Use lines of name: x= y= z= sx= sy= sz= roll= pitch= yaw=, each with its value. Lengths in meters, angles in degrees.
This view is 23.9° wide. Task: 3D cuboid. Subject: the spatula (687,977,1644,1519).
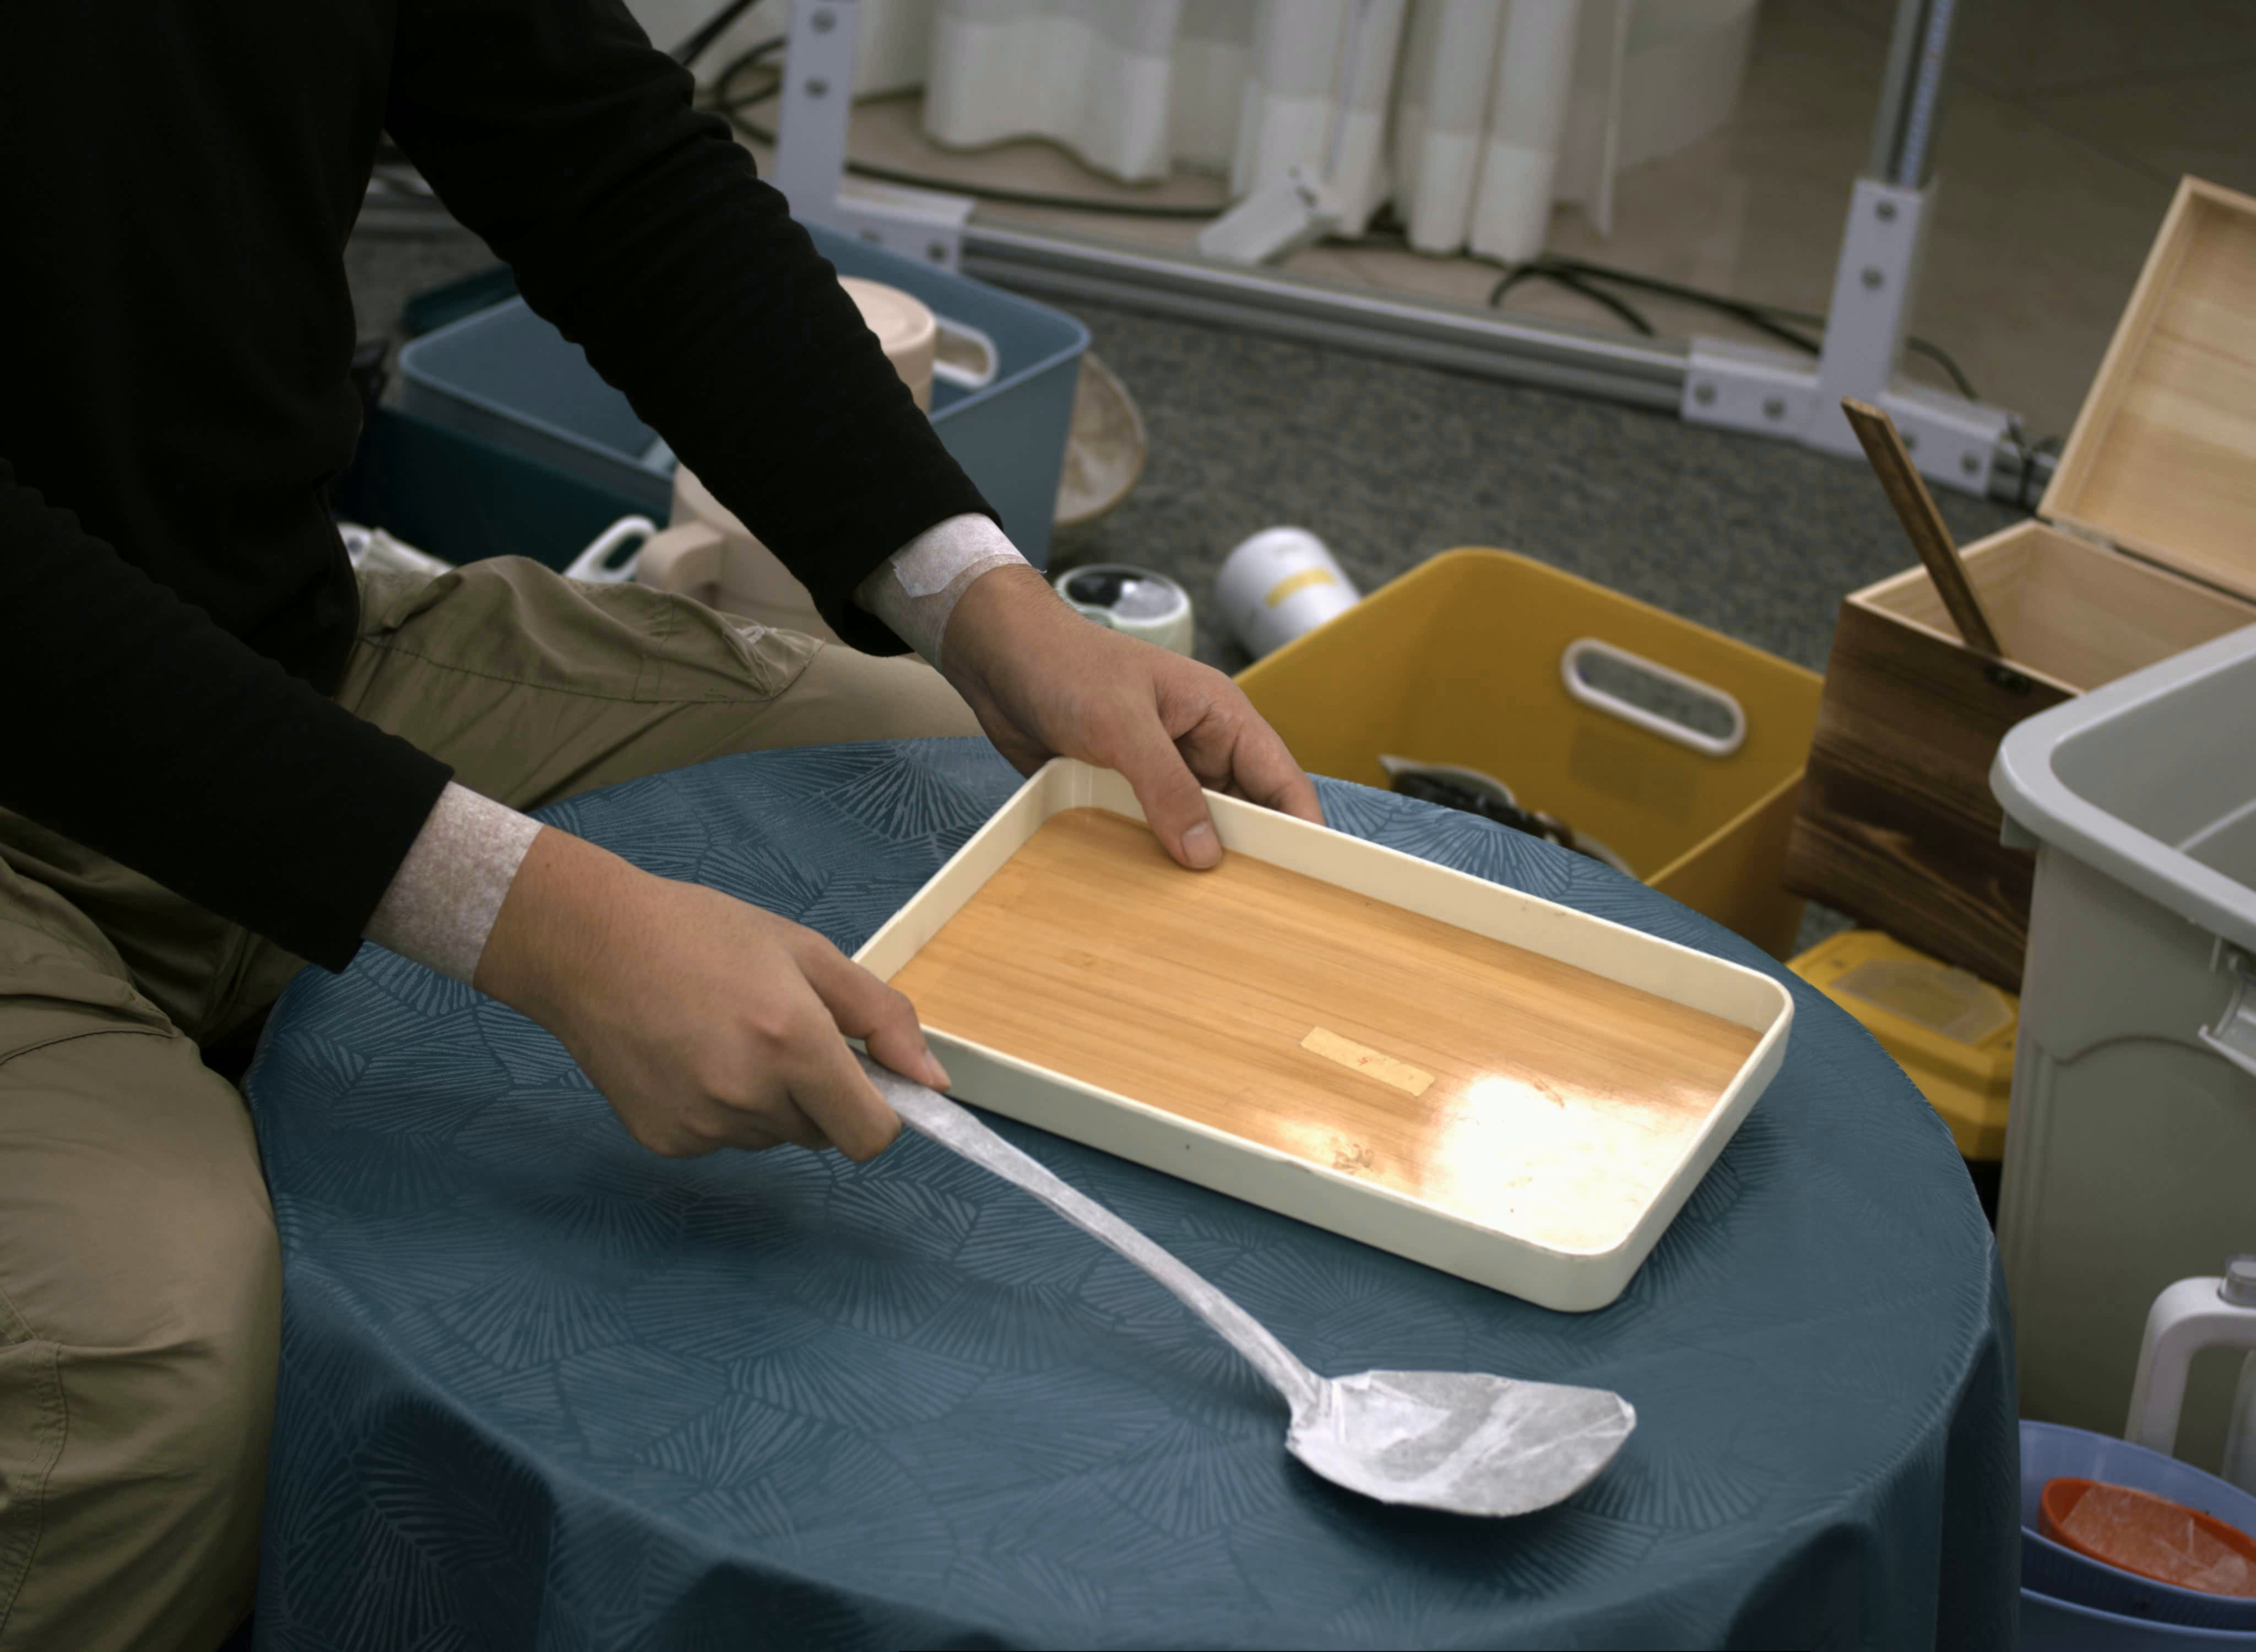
spatula: x=-0.003 y=0.127 z=1.710 sx=0.367 sy=0.044 sz=0.098 roll=32 pitch=33 yaw=21

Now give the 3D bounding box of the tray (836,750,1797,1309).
tray: x=0.066 y=0.067 z=1.872 sx=0.301 sy=0.027 sz=0.191 roll=19 pitch=36 yaw=21
